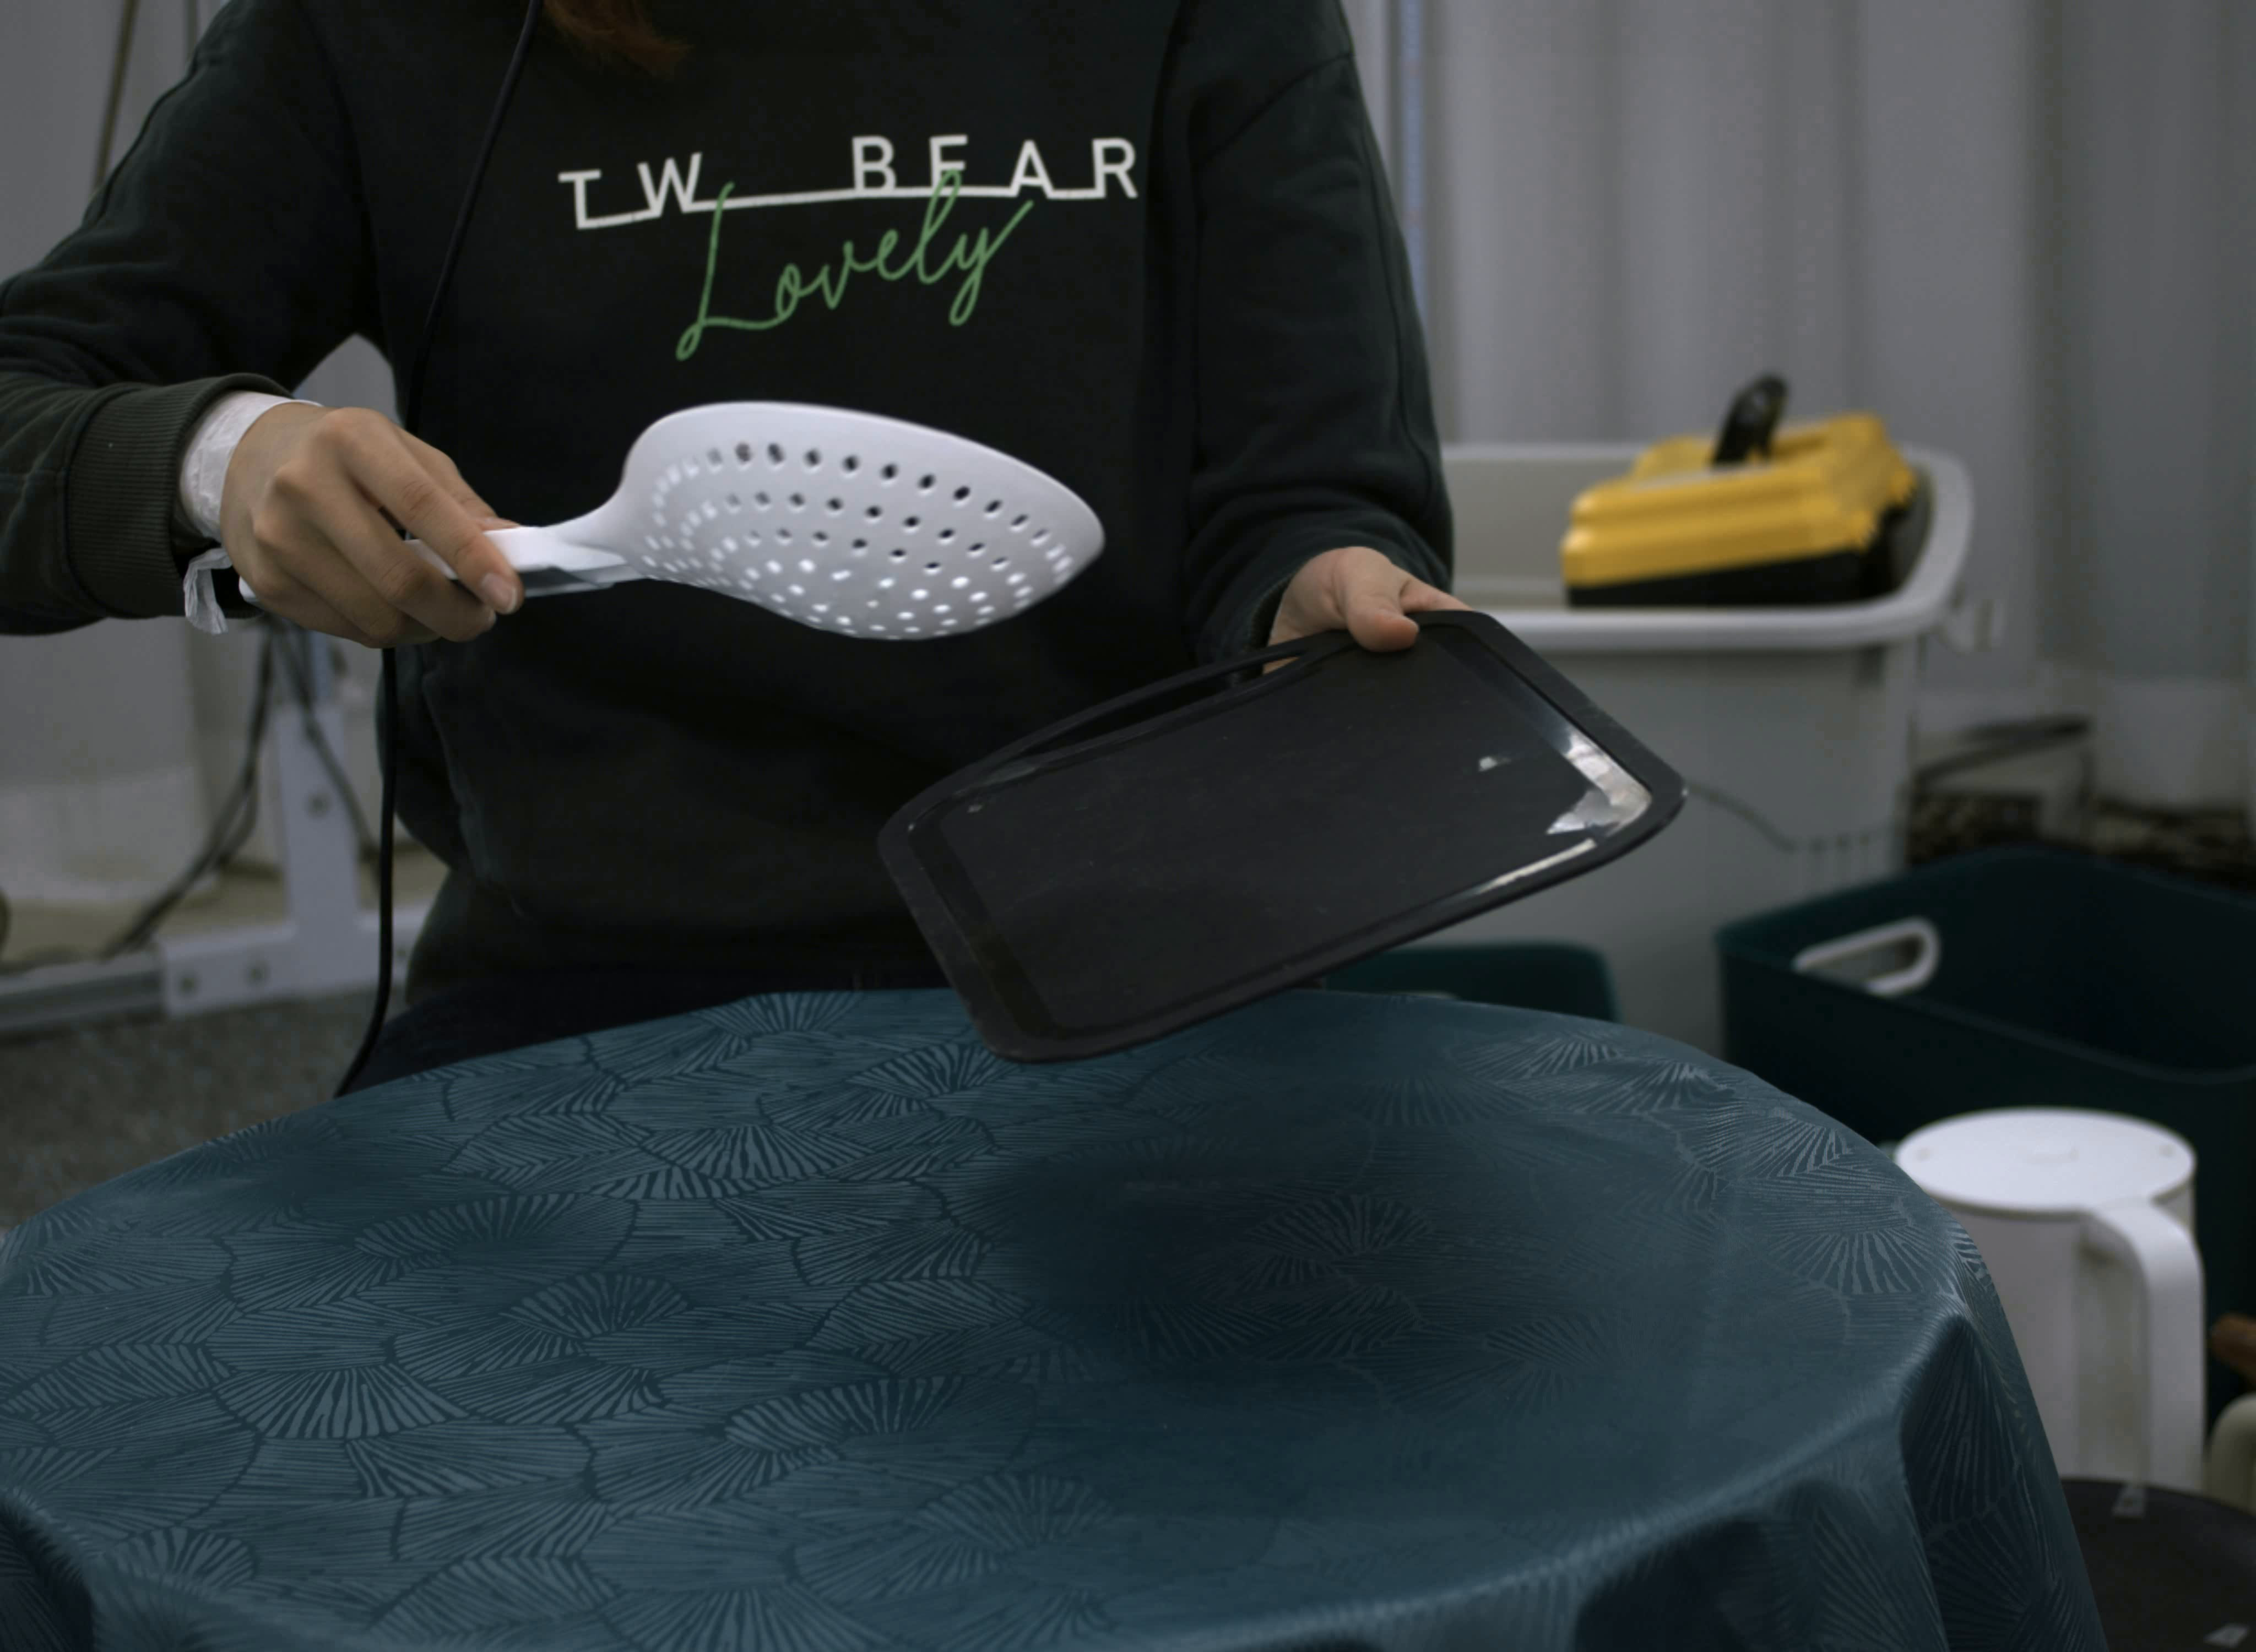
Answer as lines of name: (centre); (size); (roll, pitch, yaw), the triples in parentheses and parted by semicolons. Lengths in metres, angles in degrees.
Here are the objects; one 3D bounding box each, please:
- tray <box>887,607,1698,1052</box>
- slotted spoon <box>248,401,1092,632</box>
tray: (0.038, -0.006, 1.633); (0.210, 0.010, 0.328); (-21, 17, -5)
slotted spoon: (-0.154, -0.085, 1.653); (0.351, 0.046, 0.134); (2, -16, 46)
